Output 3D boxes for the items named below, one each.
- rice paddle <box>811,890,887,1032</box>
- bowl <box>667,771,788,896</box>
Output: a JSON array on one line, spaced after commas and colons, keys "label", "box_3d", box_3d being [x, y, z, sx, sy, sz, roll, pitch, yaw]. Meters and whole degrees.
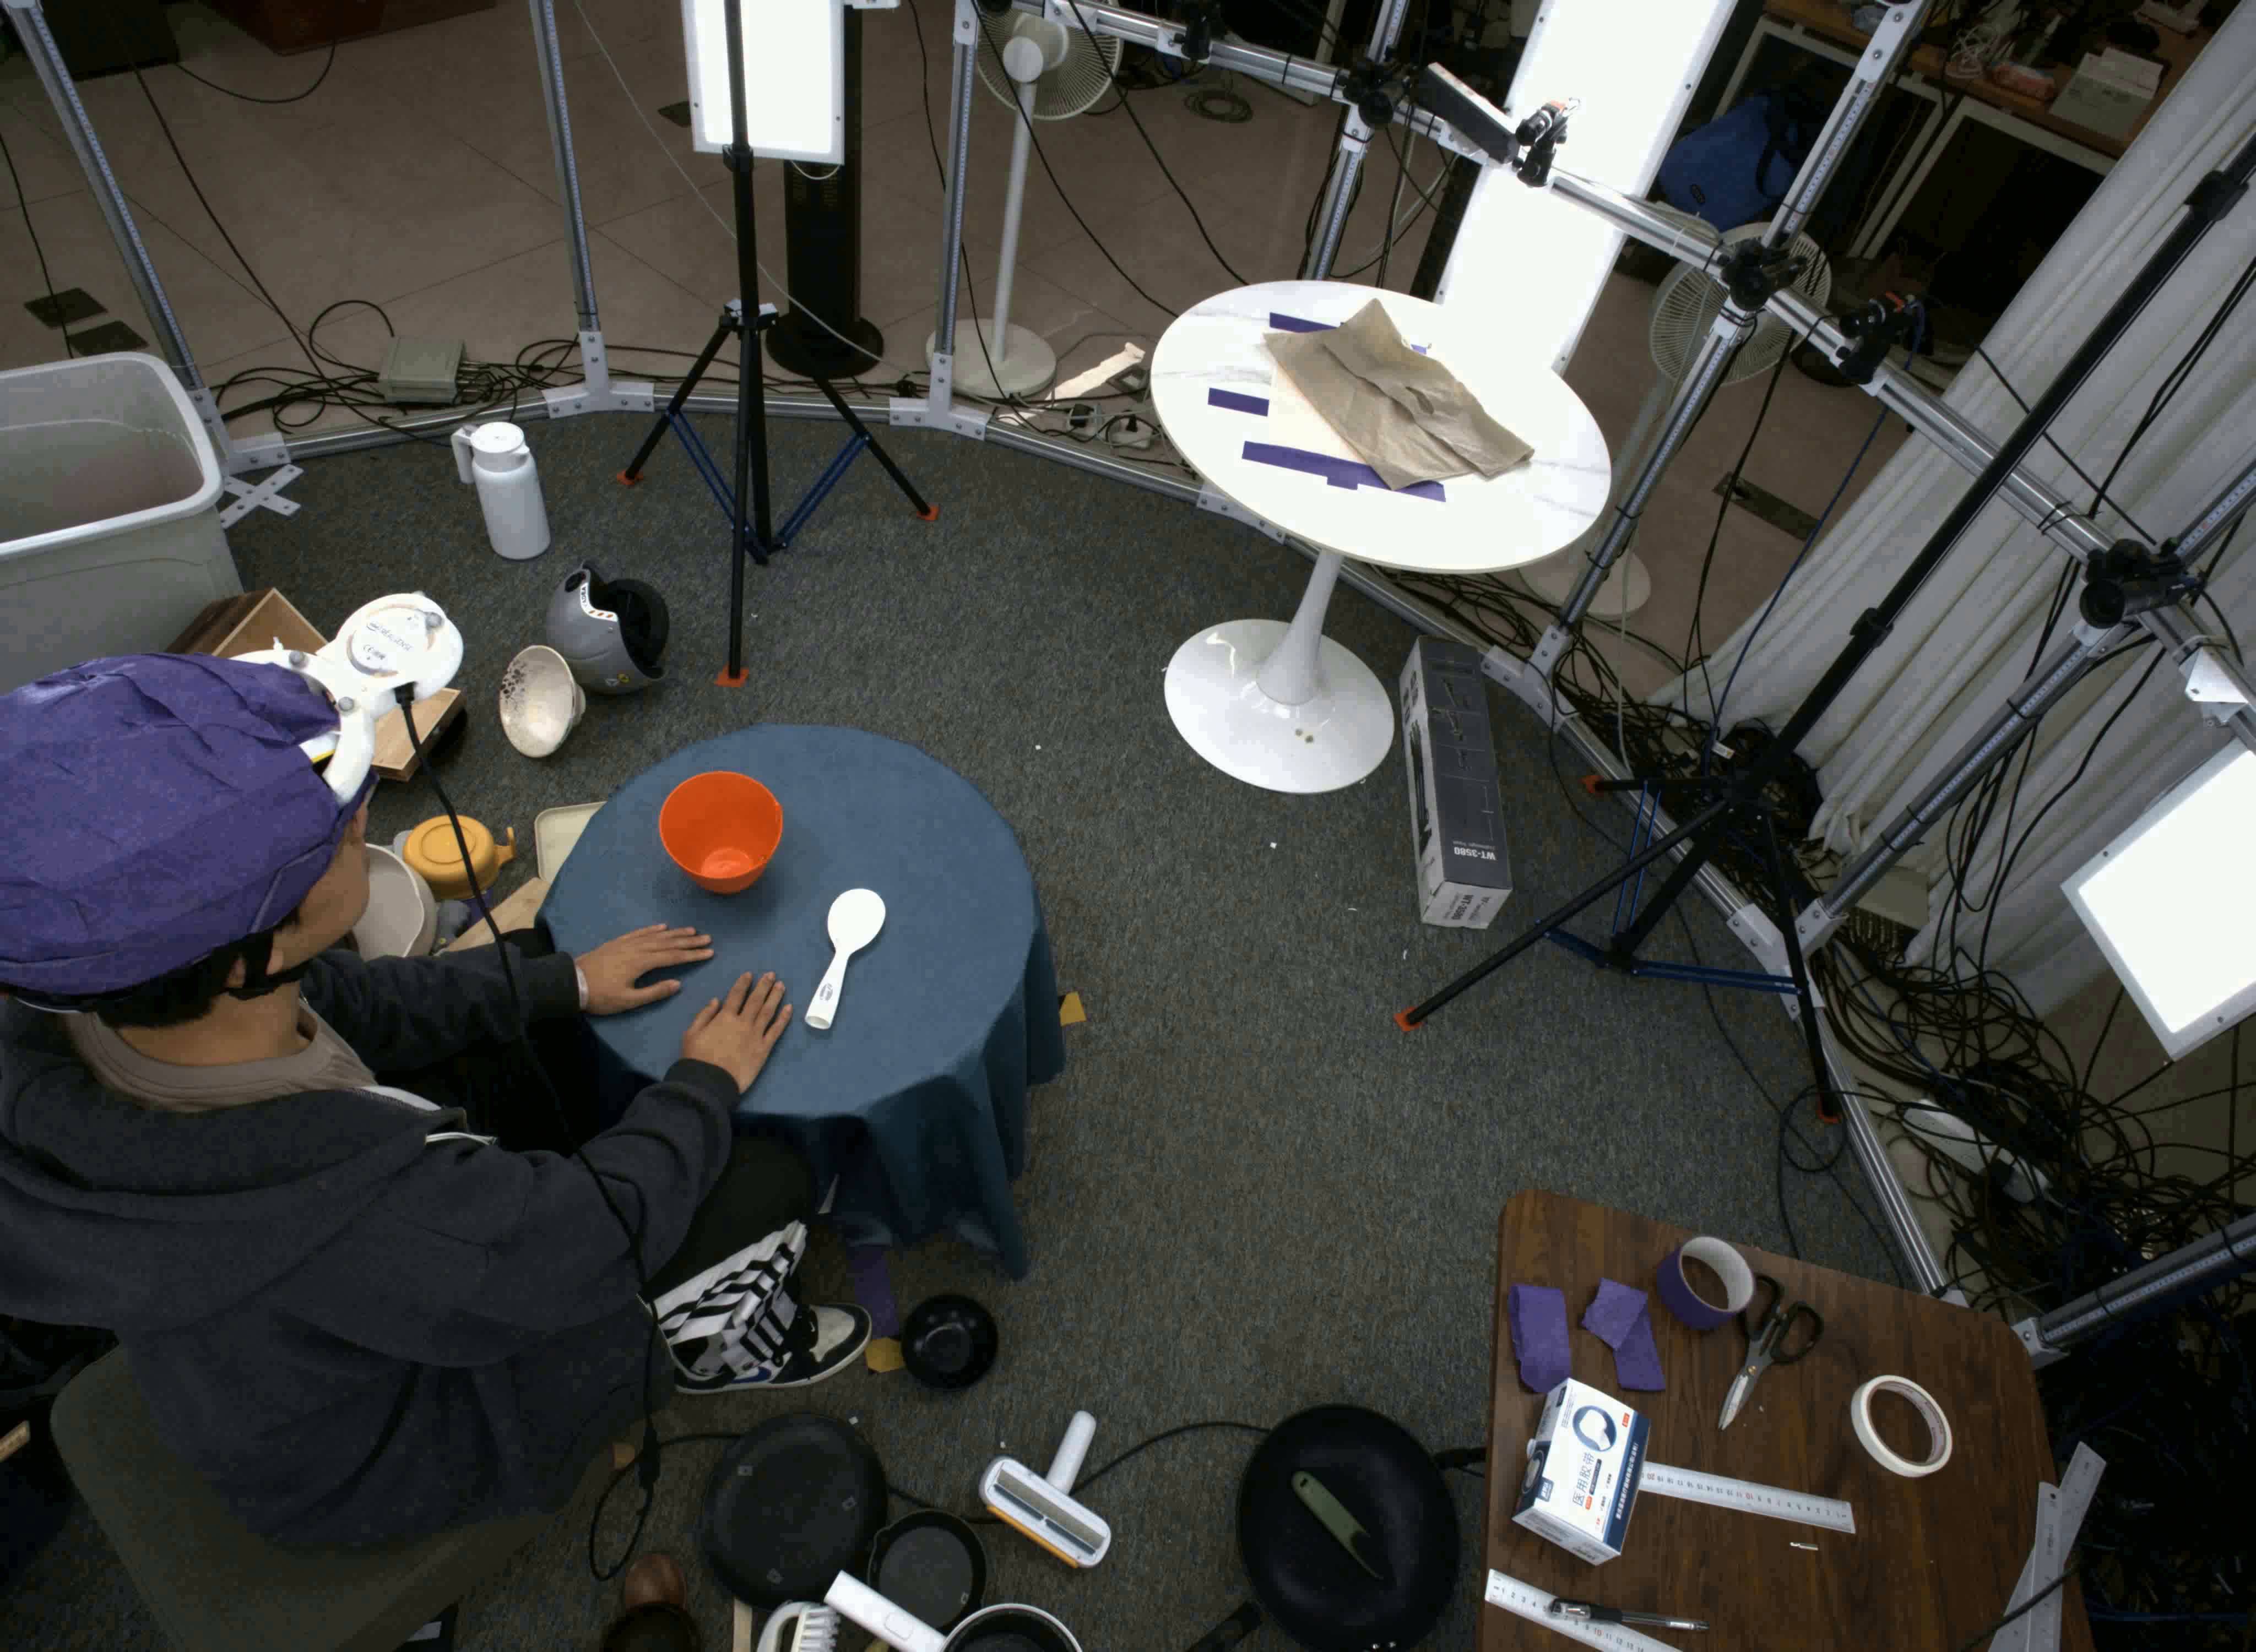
[{"label": "rice paddle", "box_3d": [-0.350, 0.157, 1.611, 0.068, 0.030, 0.202, 14, 52, -4]}, {"label": "bowl", "box_3d": [-0.502, 0.020, 1.629, 0.148, 0.106, 0.145, 8, 53, -9]}]
